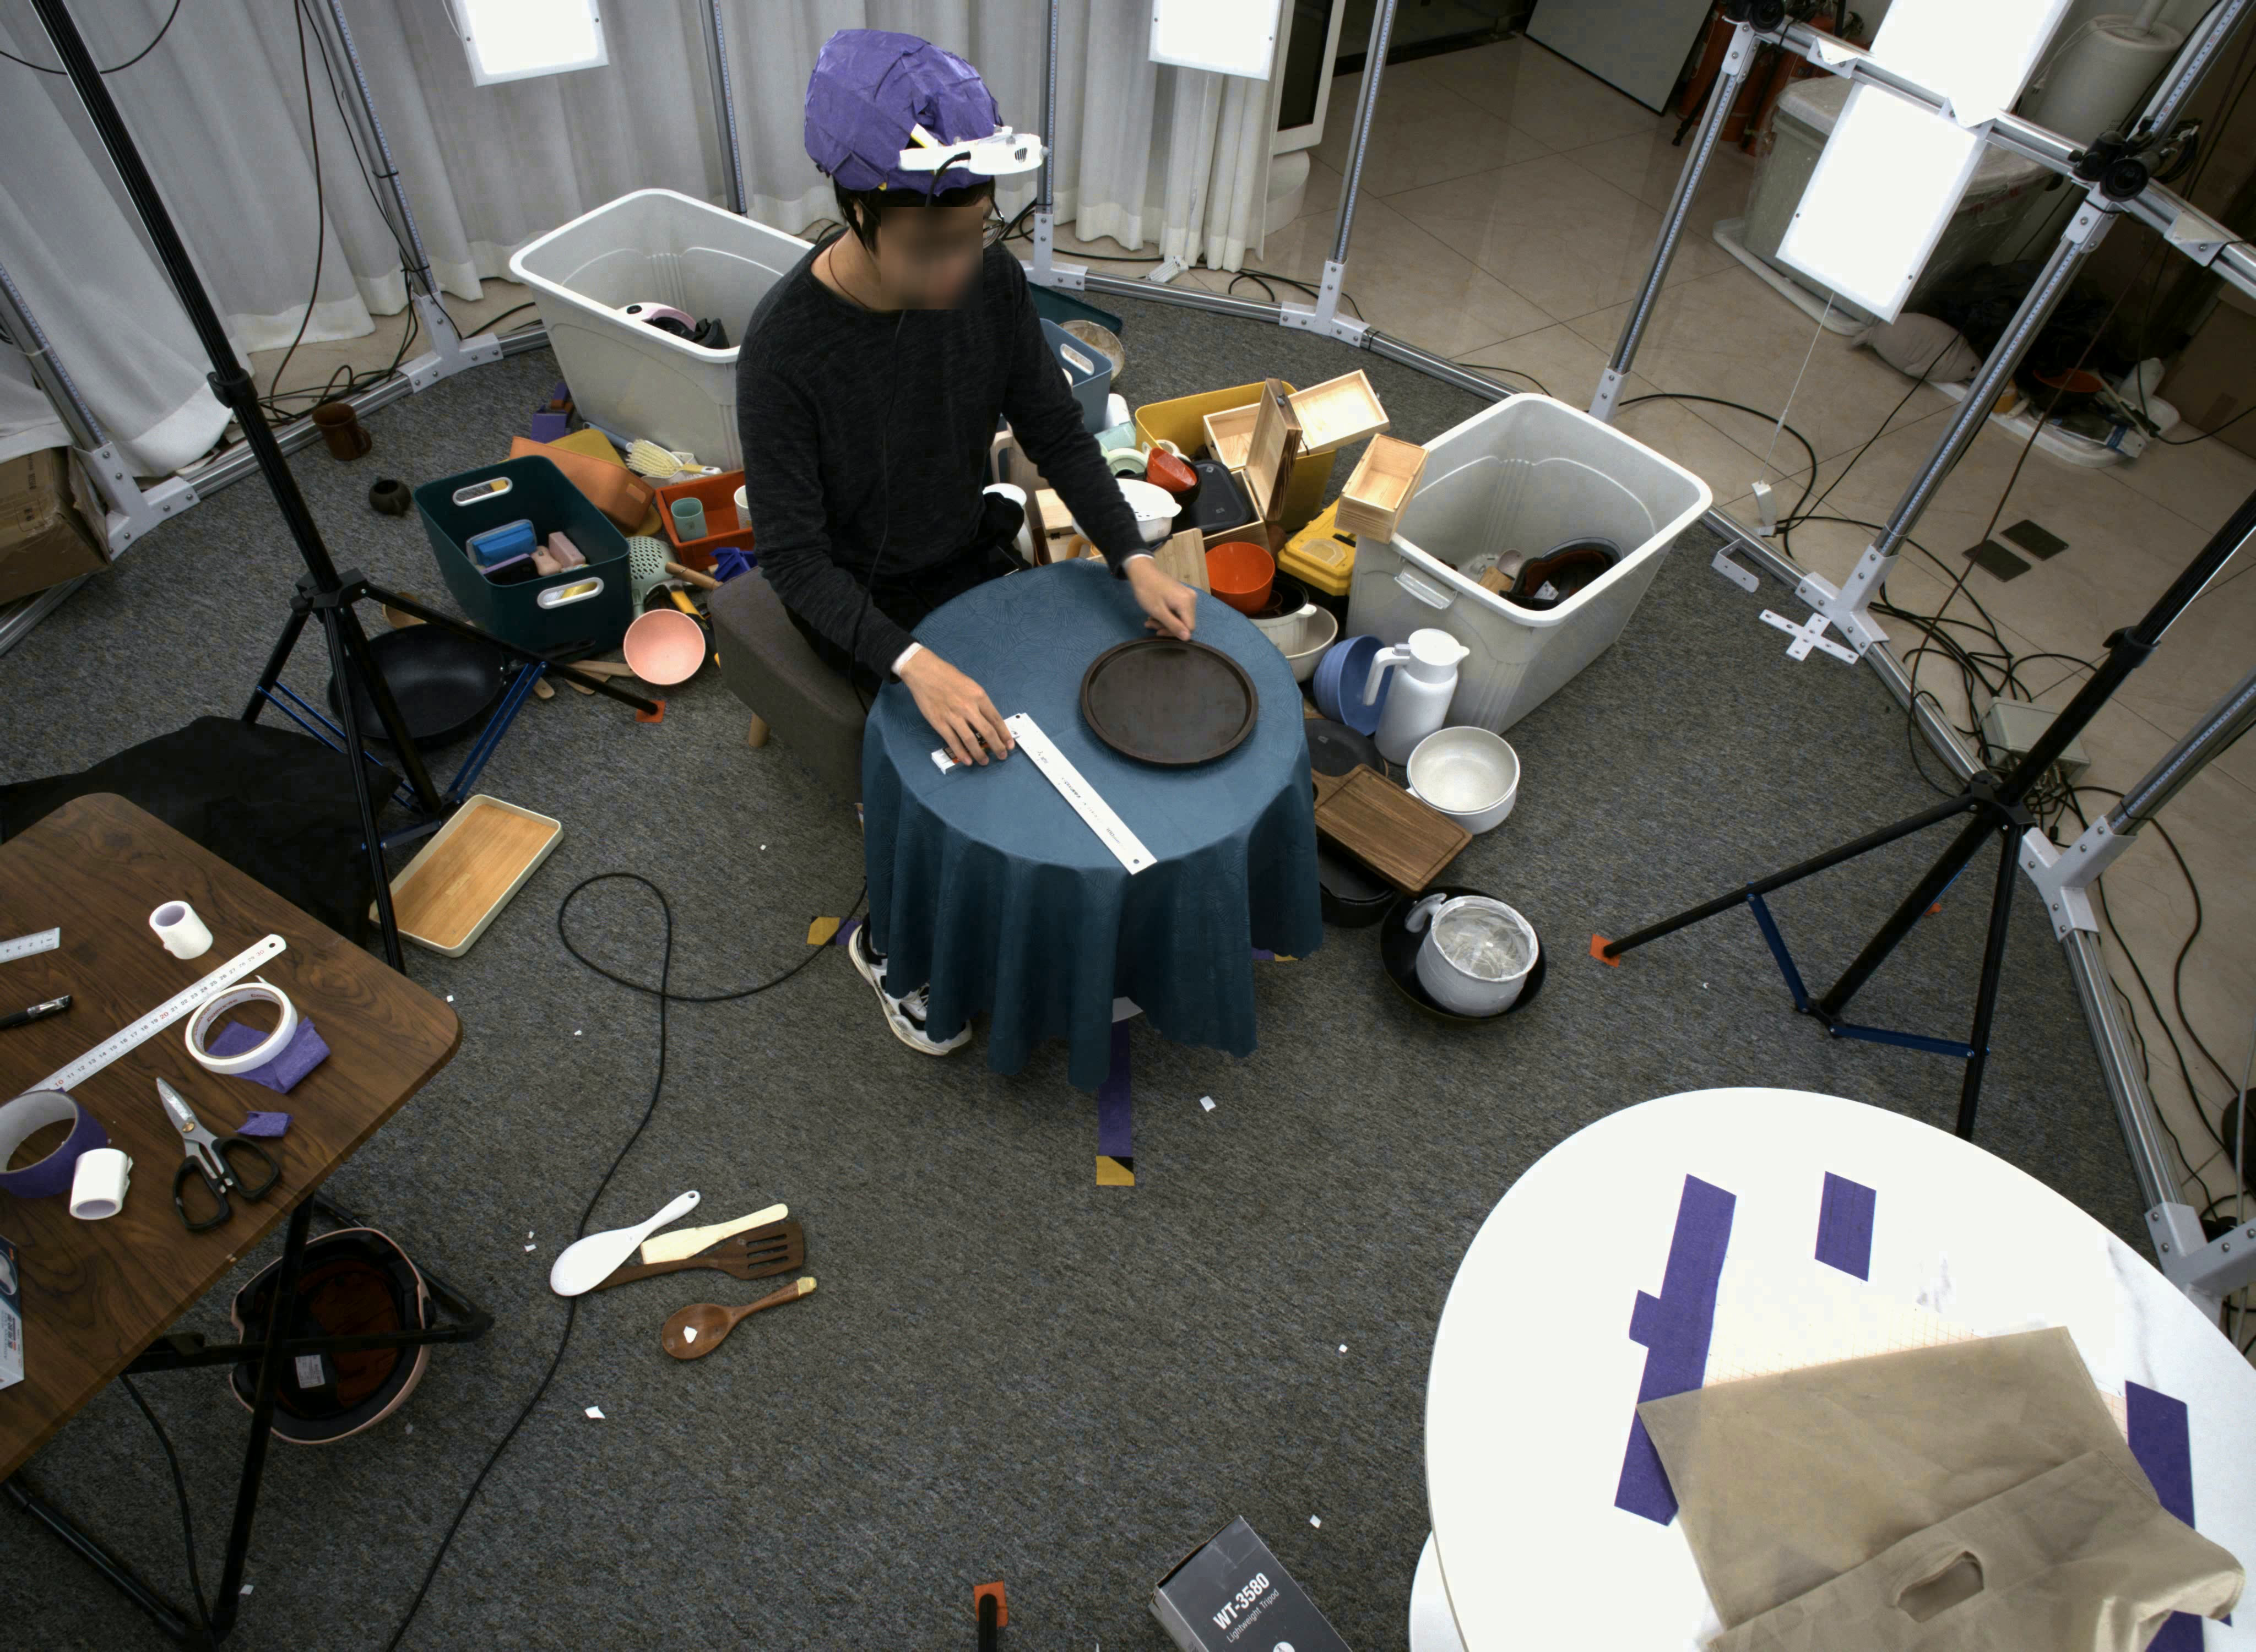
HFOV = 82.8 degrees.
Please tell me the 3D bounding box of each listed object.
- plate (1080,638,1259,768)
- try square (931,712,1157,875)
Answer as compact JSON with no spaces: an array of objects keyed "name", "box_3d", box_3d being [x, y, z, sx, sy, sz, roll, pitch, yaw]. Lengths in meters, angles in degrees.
[{"name":"plate","box_3d":[0.058,-0.176,1.811,0.254,0.028,0.261,2,50,-3]},{"name":"try square","box_3d":[-0.115,-0.026,1.681,0.153,0.015,0.319,-27,57,-24]}]
